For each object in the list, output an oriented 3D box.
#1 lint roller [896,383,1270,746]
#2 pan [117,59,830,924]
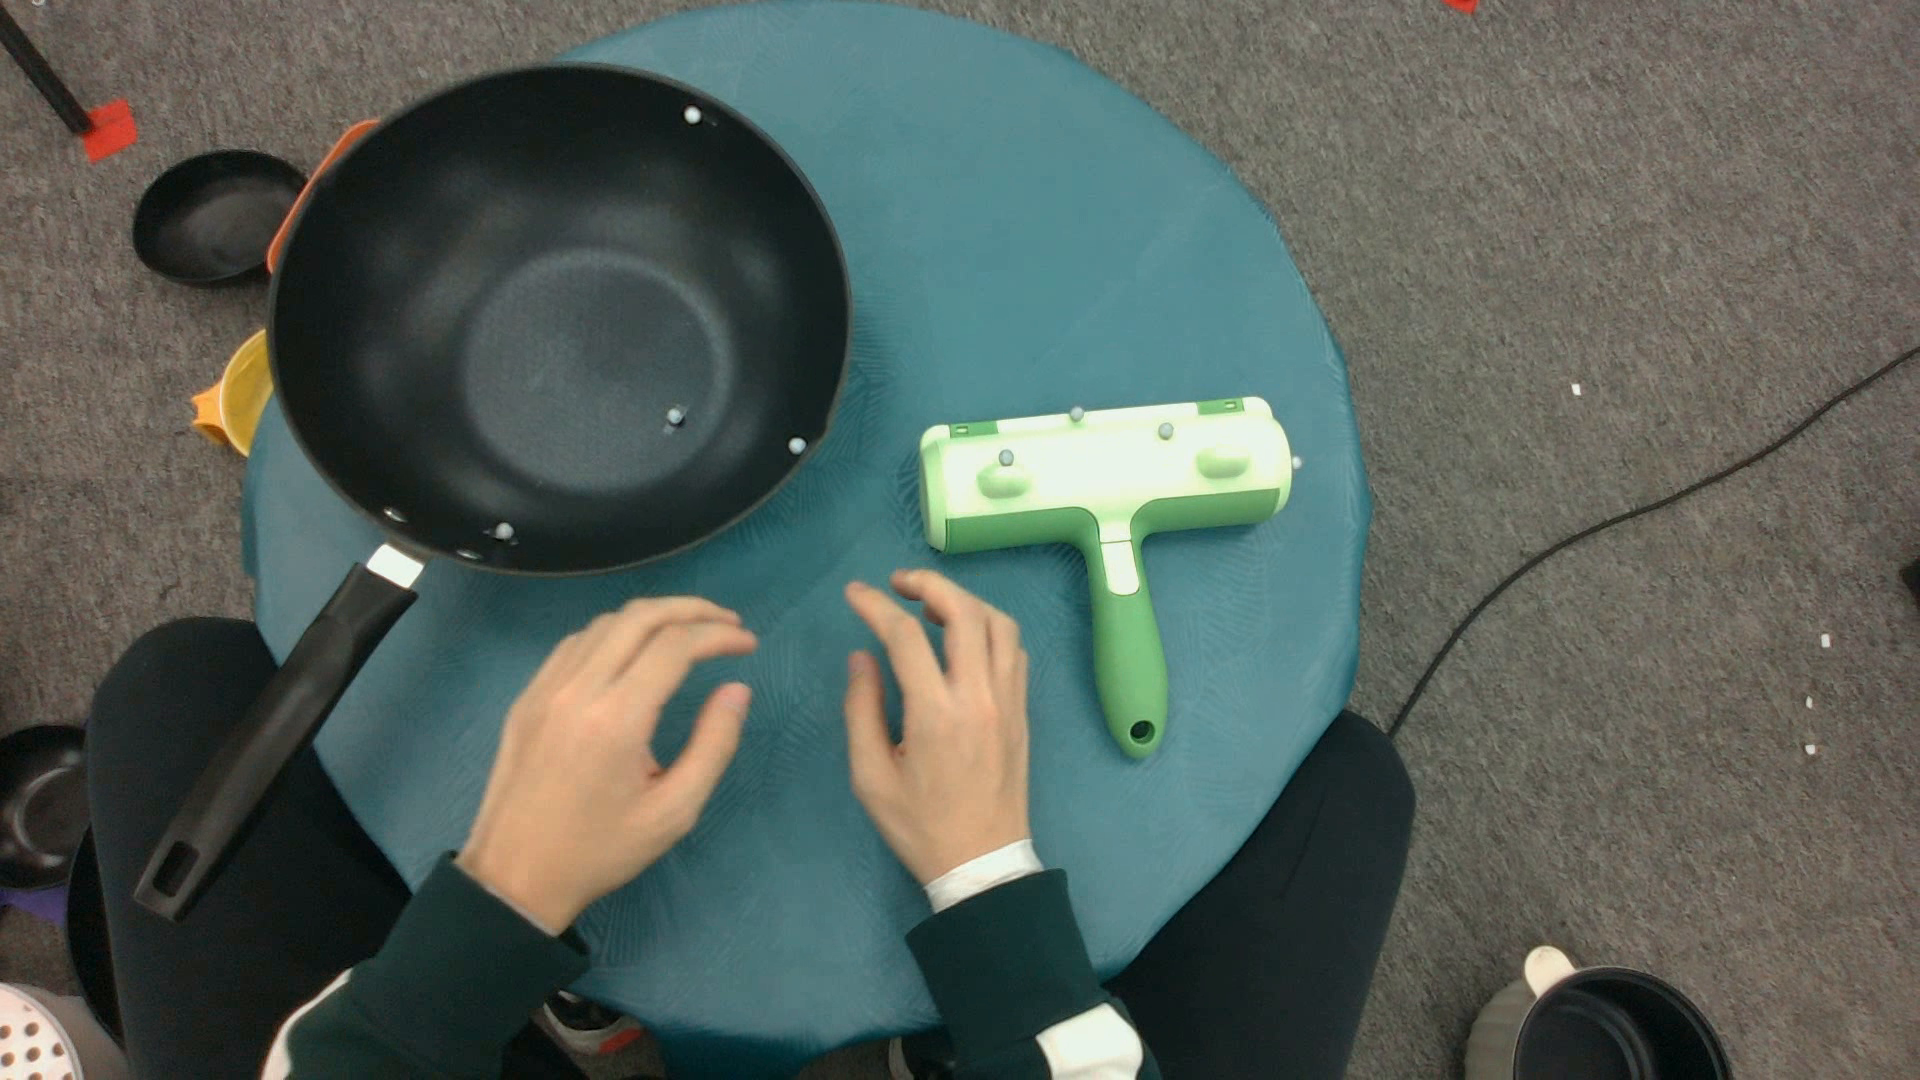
[{"bbox_3d":[0.075,0.009,0.710,0.199,0.082,0.184,-7,68,-8],"label":"lint roller"},{"bbox_3d":[-0.246,-0.027,0.685,0.288,0.086,0.465,25,73,3],"label":"pan"}]
